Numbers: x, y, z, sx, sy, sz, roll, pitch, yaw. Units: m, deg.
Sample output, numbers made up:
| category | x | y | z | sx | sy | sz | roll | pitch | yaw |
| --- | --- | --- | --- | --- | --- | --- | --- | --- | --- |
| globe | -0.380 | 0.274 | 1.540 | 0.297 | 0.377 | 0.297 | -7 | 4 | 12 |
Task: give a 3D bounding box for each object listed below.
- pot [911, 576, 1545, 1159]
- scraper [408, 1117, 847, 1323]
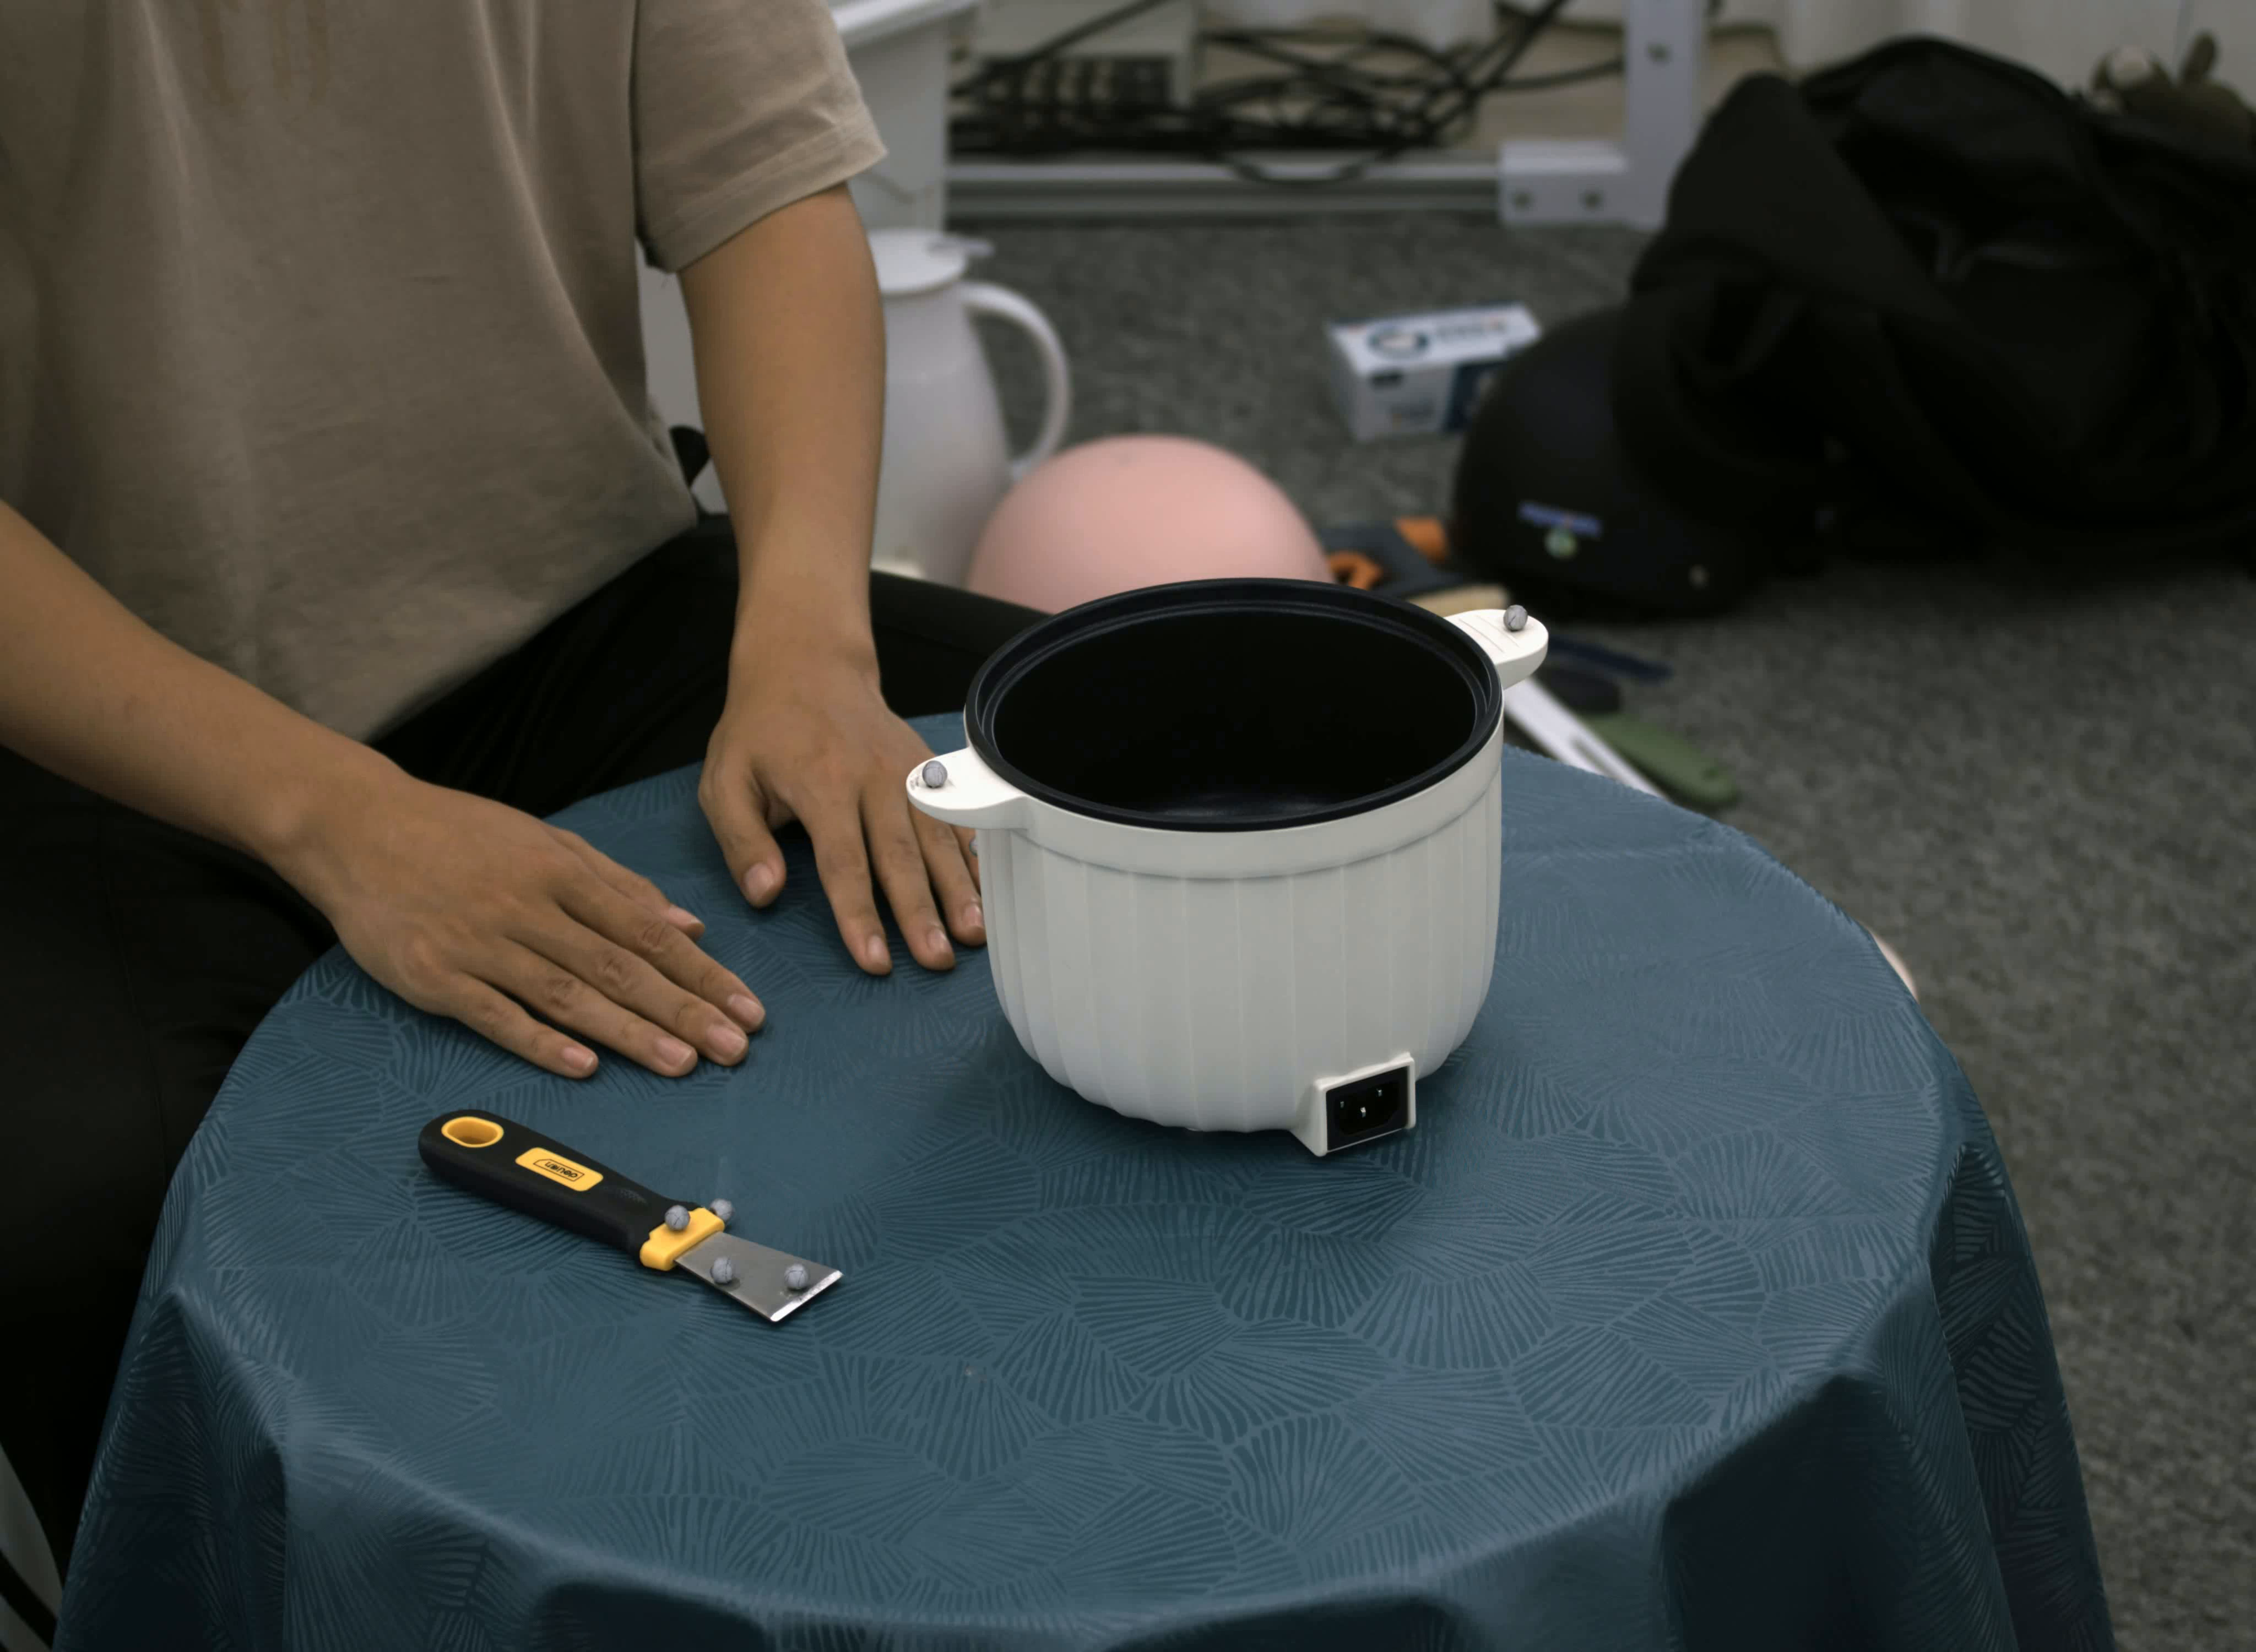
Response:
| category | x | y | z | sx | sy | sz | roll | pitch | yaw |
| --- | --- | --- | --- | --- | --- | --- | --- | --- | --- |
| pot | 0.034 | 0.013 | 1.920 | 0.242 | 0.141 | 0.192 | -15 | 33 | -25 |
| scraper | -0.169 | 0.129 | 1.846 | 0.170 | 0.015 | 0.039 | 18 | 37 | 31 |
